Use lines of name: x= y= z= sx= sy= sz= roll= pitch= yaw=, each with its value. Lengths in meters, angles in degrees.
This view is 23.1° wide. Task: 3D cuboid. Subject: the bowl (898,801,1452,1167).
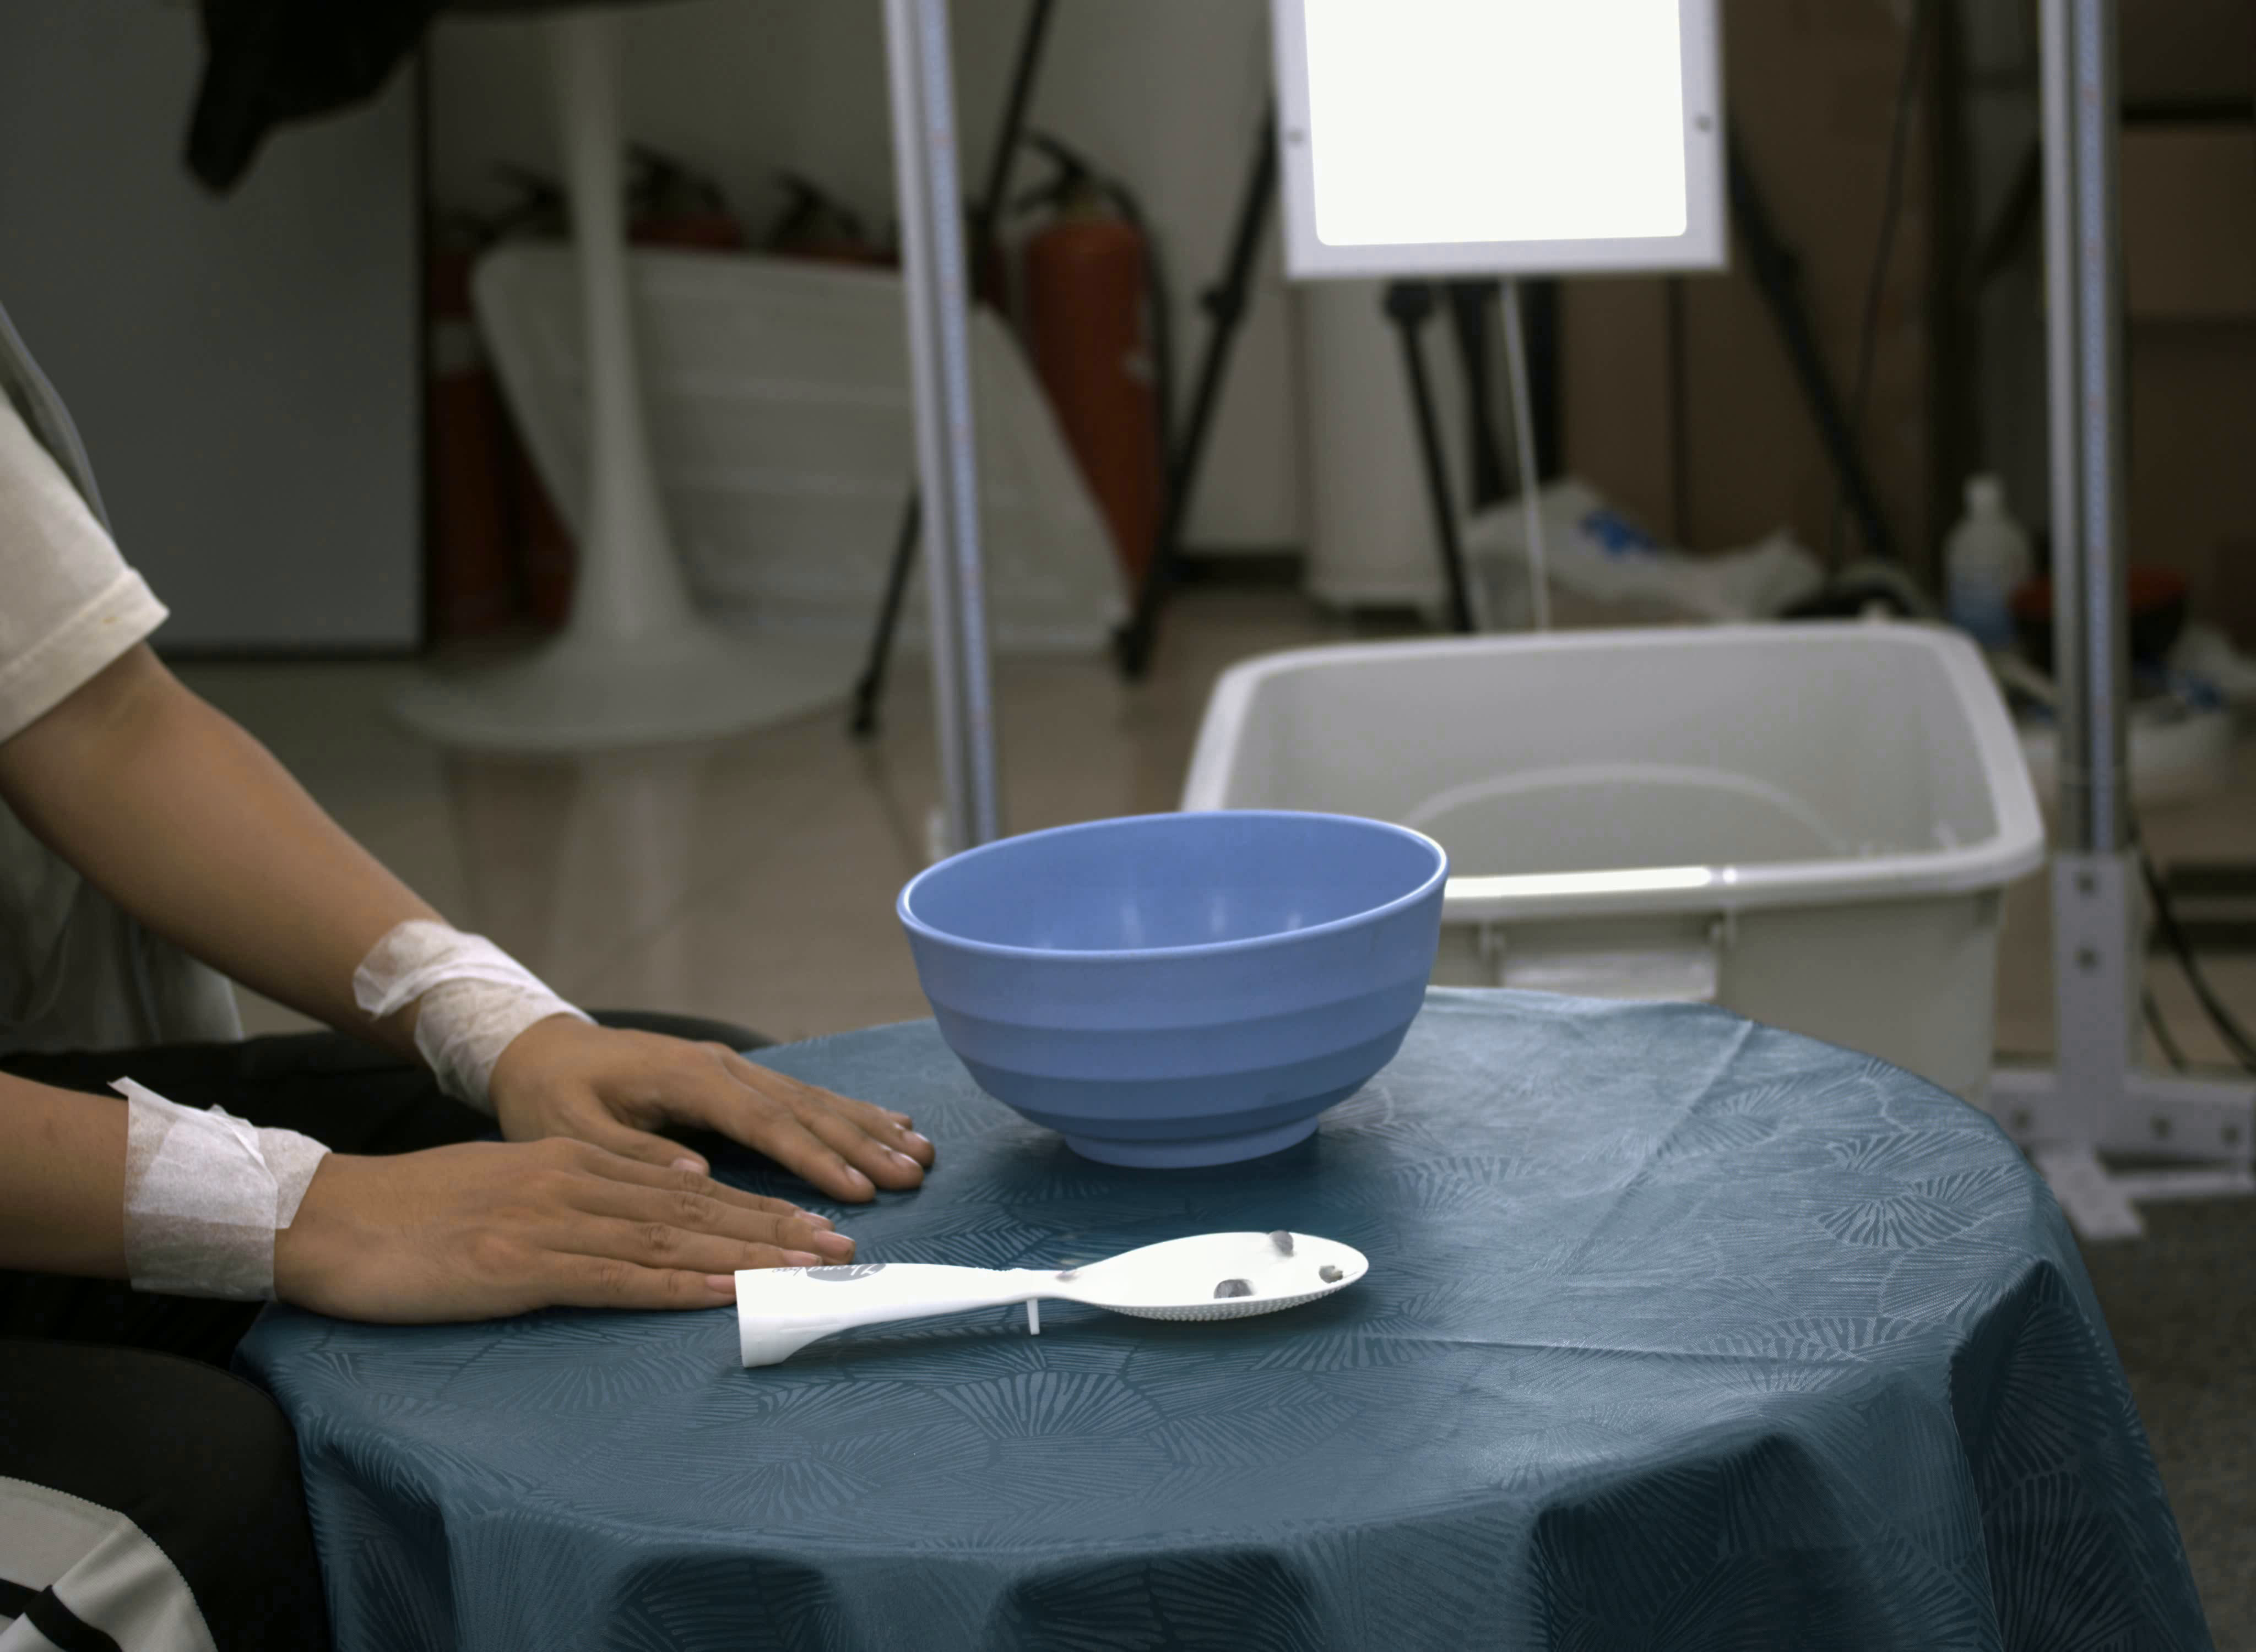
bowl: x=0.019 y=0.062 z=1.950 sx=0.196 sy=0.096 sz=0.196 roll=-4 pitch=15 yaw=0

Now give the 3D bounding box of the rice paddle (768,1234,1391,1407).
rice paddle: x=-0.013 y=0.150 z=1.763 sx=0.203 sy=0.029 sz=0.069 roll=-11 pitch=2 yaw=-11
